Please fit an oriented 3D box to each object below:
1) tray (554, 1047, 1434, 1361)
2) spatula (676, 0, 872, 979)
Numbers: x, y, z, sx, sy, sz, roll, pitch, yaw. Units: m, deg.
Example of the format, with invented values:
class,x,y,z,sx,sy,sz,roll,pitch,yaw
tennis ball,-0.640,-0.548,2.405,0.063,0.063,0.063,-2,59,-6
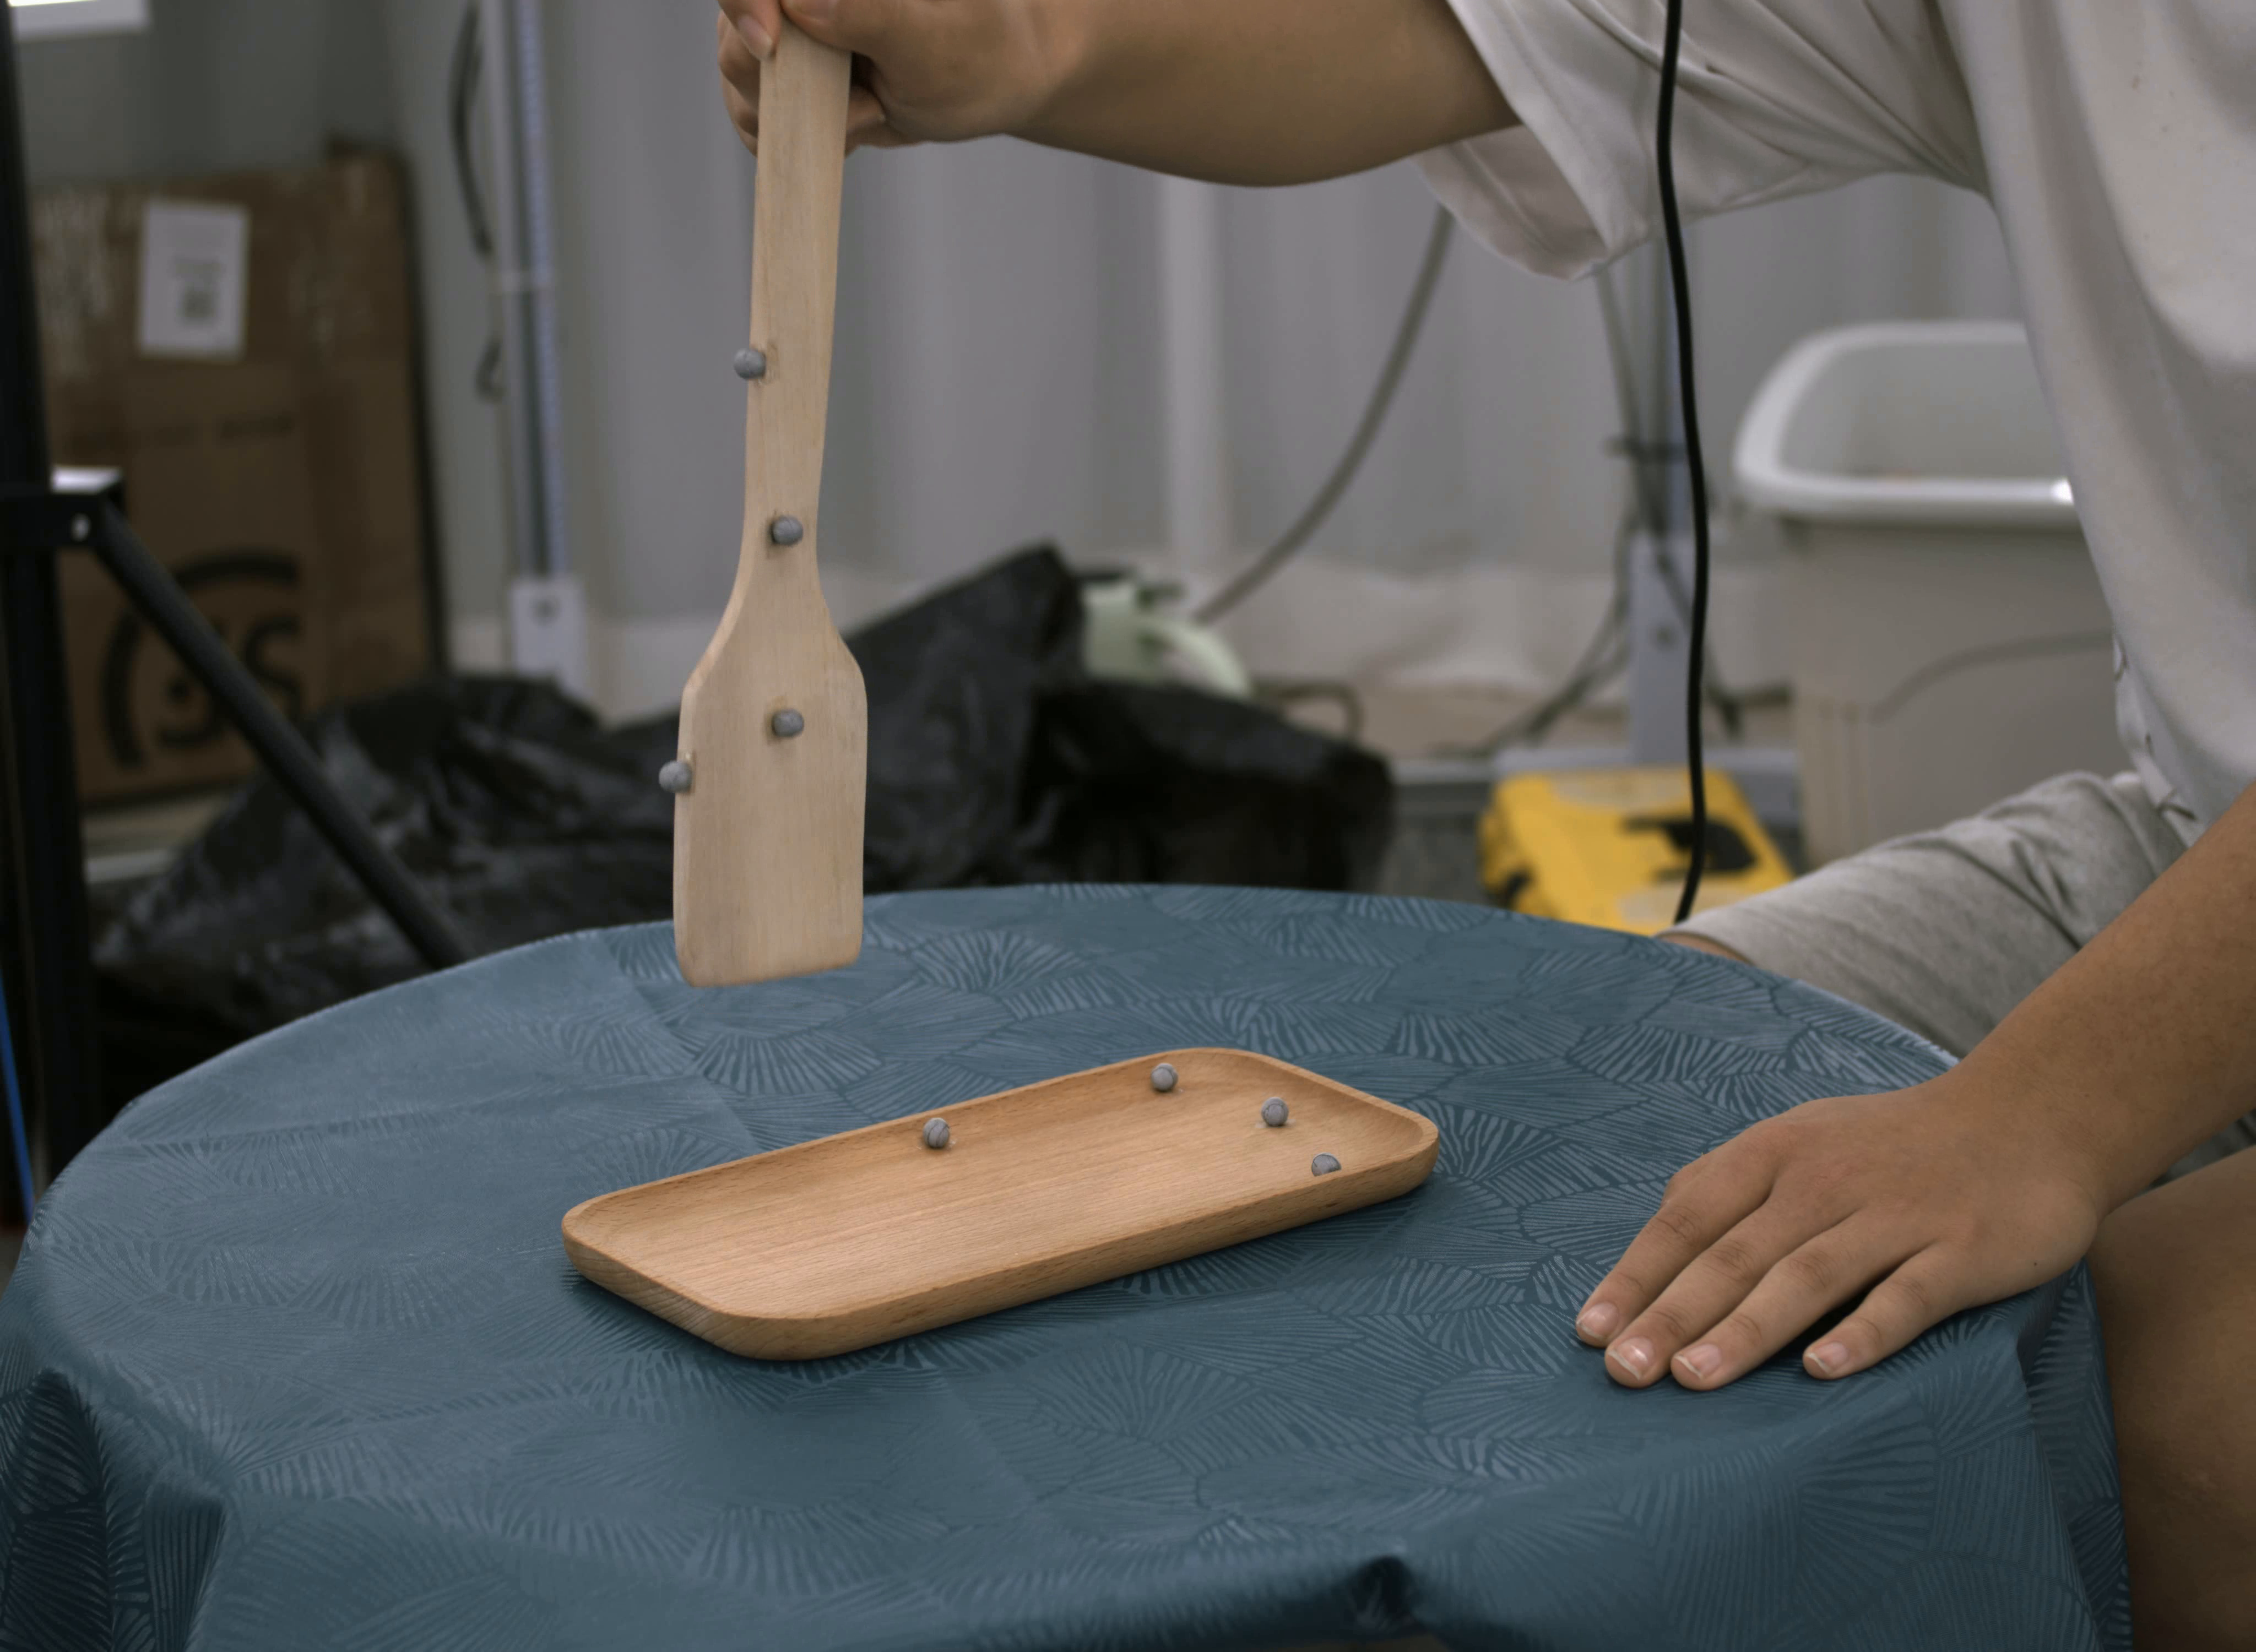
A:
class,x,y,z,sx,sy,sz,roll,pitch,yaw
tray,-0.036,0.108,1.538,0.245,0.023,0.133,-13,17,-32
spatula,-0.092,-0.104,1.464,0.011,0.294,0.070,11,11,41
